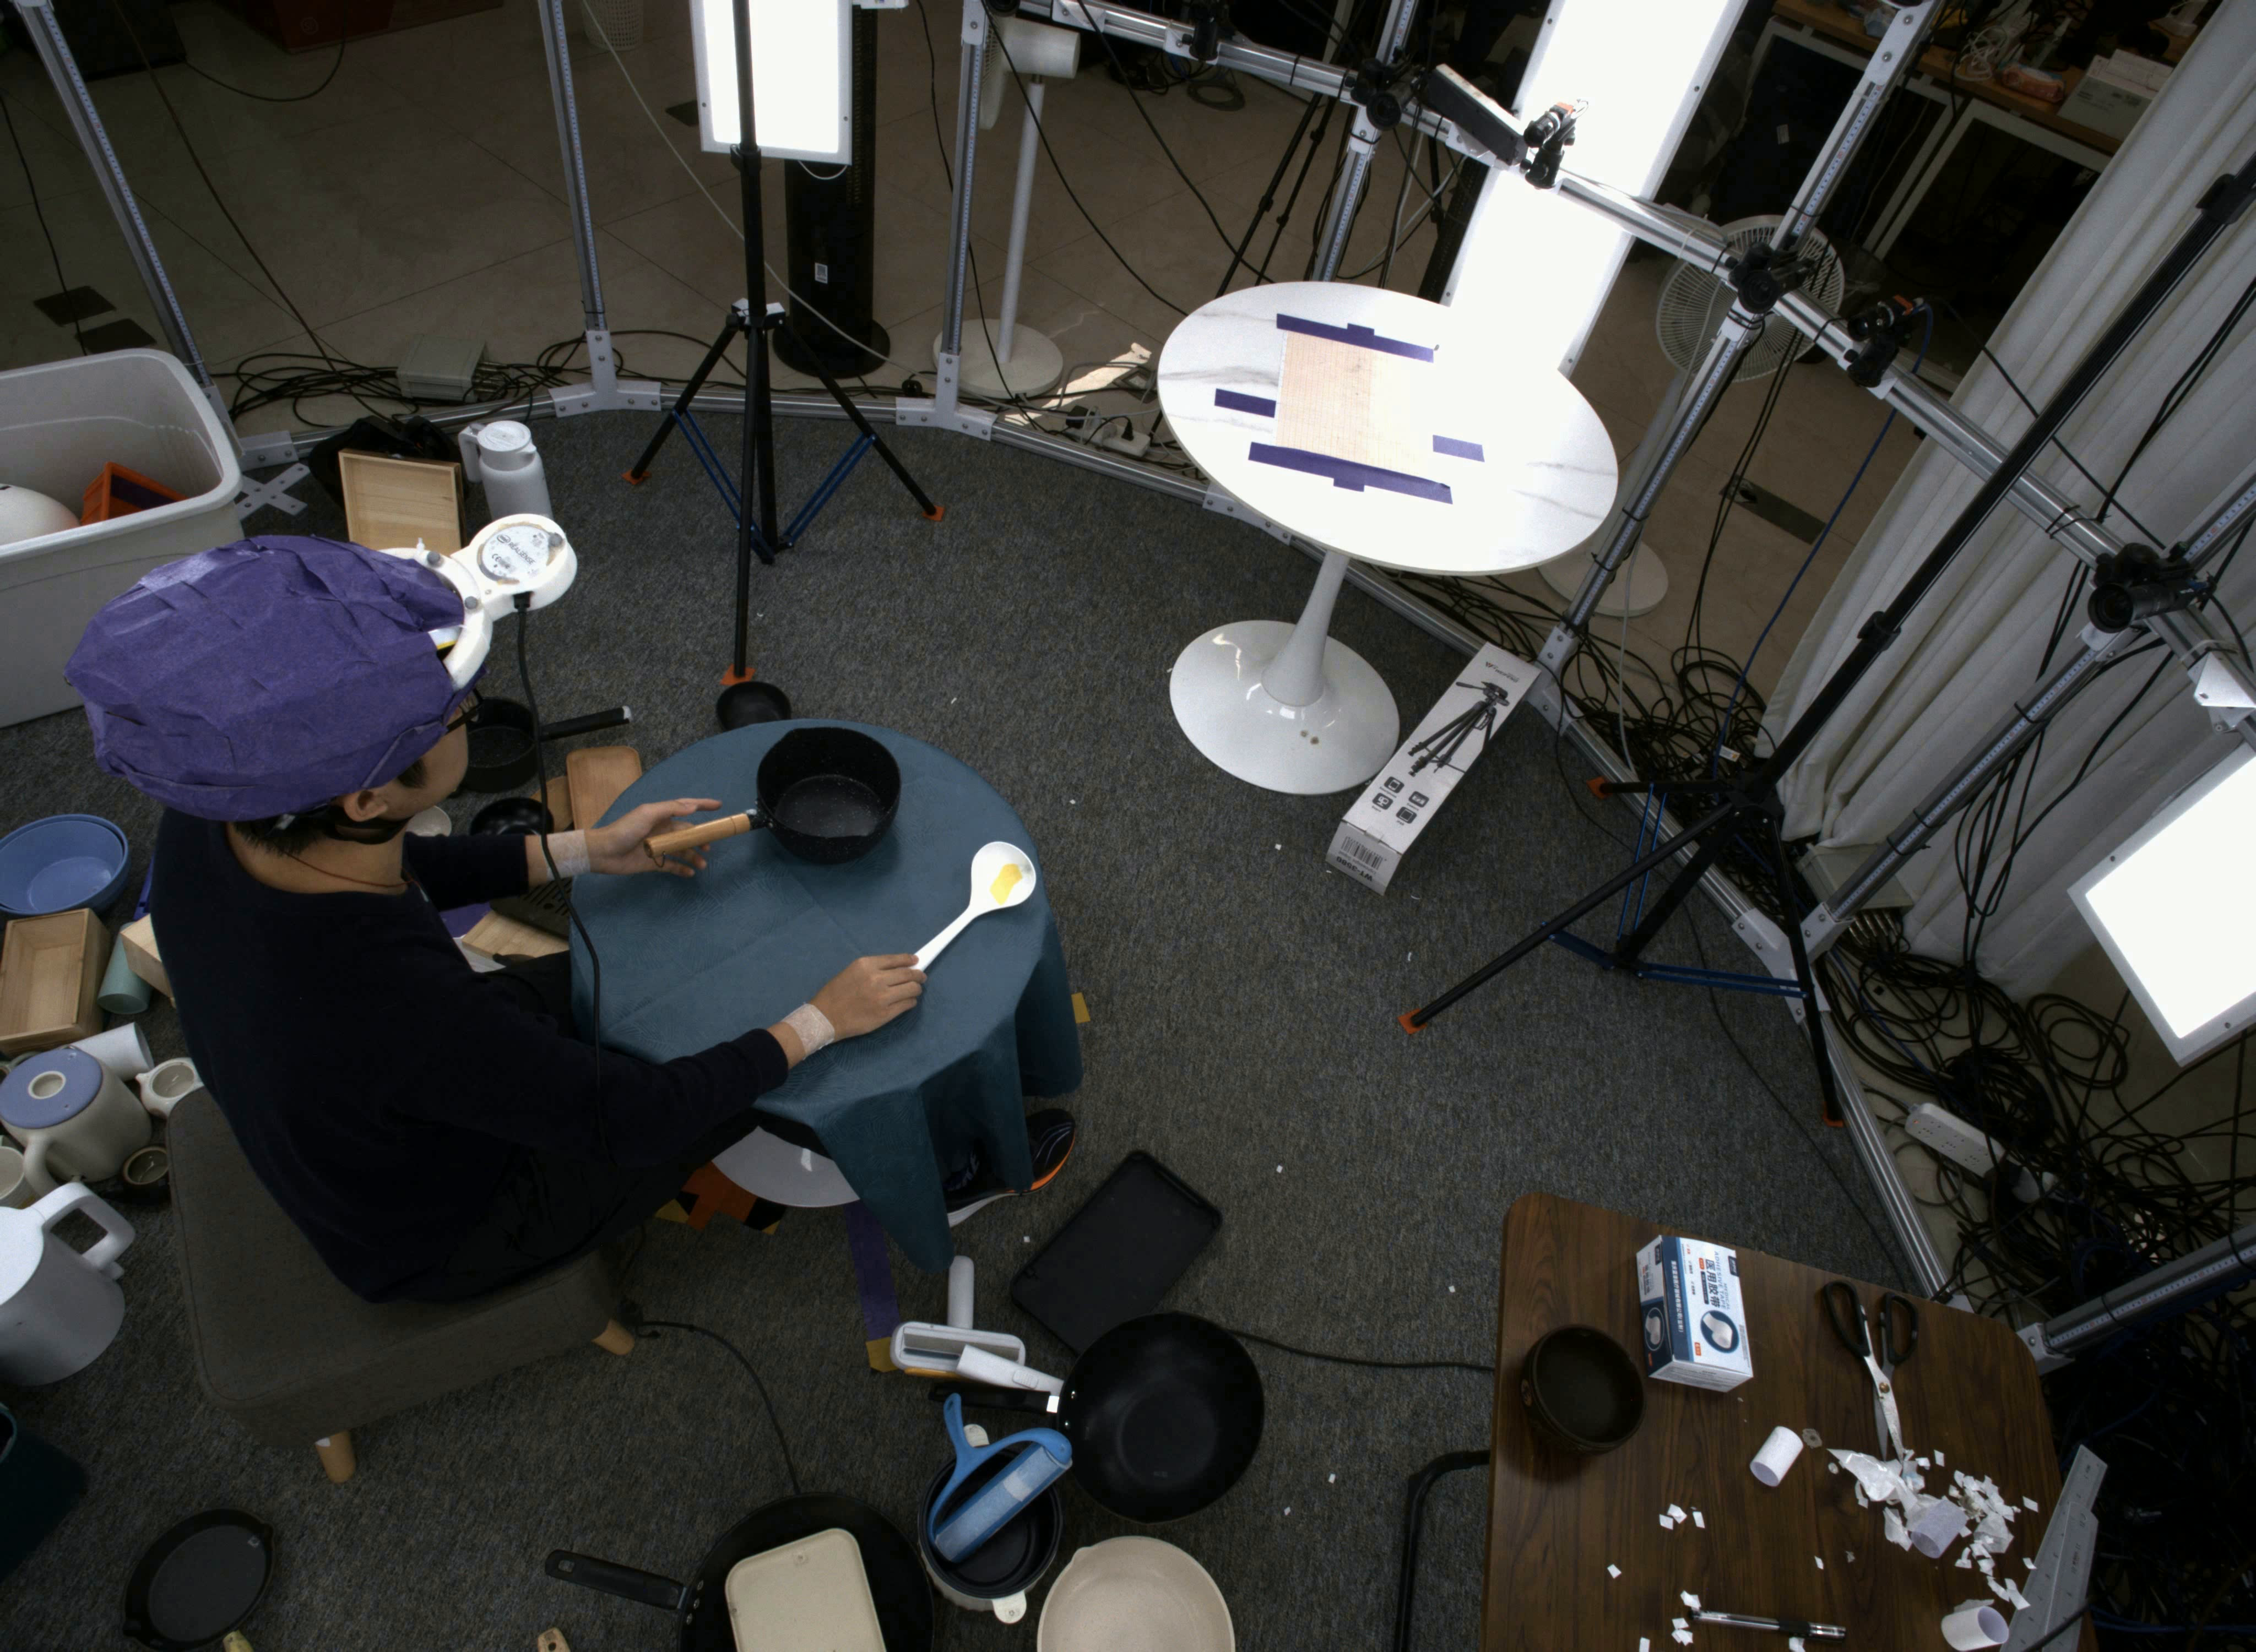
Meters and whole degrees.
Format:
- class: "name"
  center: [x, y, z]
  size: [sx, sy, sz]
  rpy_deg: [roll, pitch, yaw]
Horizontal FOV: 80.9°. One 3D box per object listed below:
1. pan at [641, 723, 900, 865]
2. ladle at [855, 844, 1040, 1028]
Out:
- class: "pan"
  center: [-0.451, -0.011, 1.645]
  size: [0.344, 0.110, 0.203]
  rpy_deg: [-27, 65, -32]
- class: "ladle"
  center: [-0.225, 0.136, 1.625]
  size: [0.090, 0.070, 0.293]
  rpy_deg: [43, 55, 4]
